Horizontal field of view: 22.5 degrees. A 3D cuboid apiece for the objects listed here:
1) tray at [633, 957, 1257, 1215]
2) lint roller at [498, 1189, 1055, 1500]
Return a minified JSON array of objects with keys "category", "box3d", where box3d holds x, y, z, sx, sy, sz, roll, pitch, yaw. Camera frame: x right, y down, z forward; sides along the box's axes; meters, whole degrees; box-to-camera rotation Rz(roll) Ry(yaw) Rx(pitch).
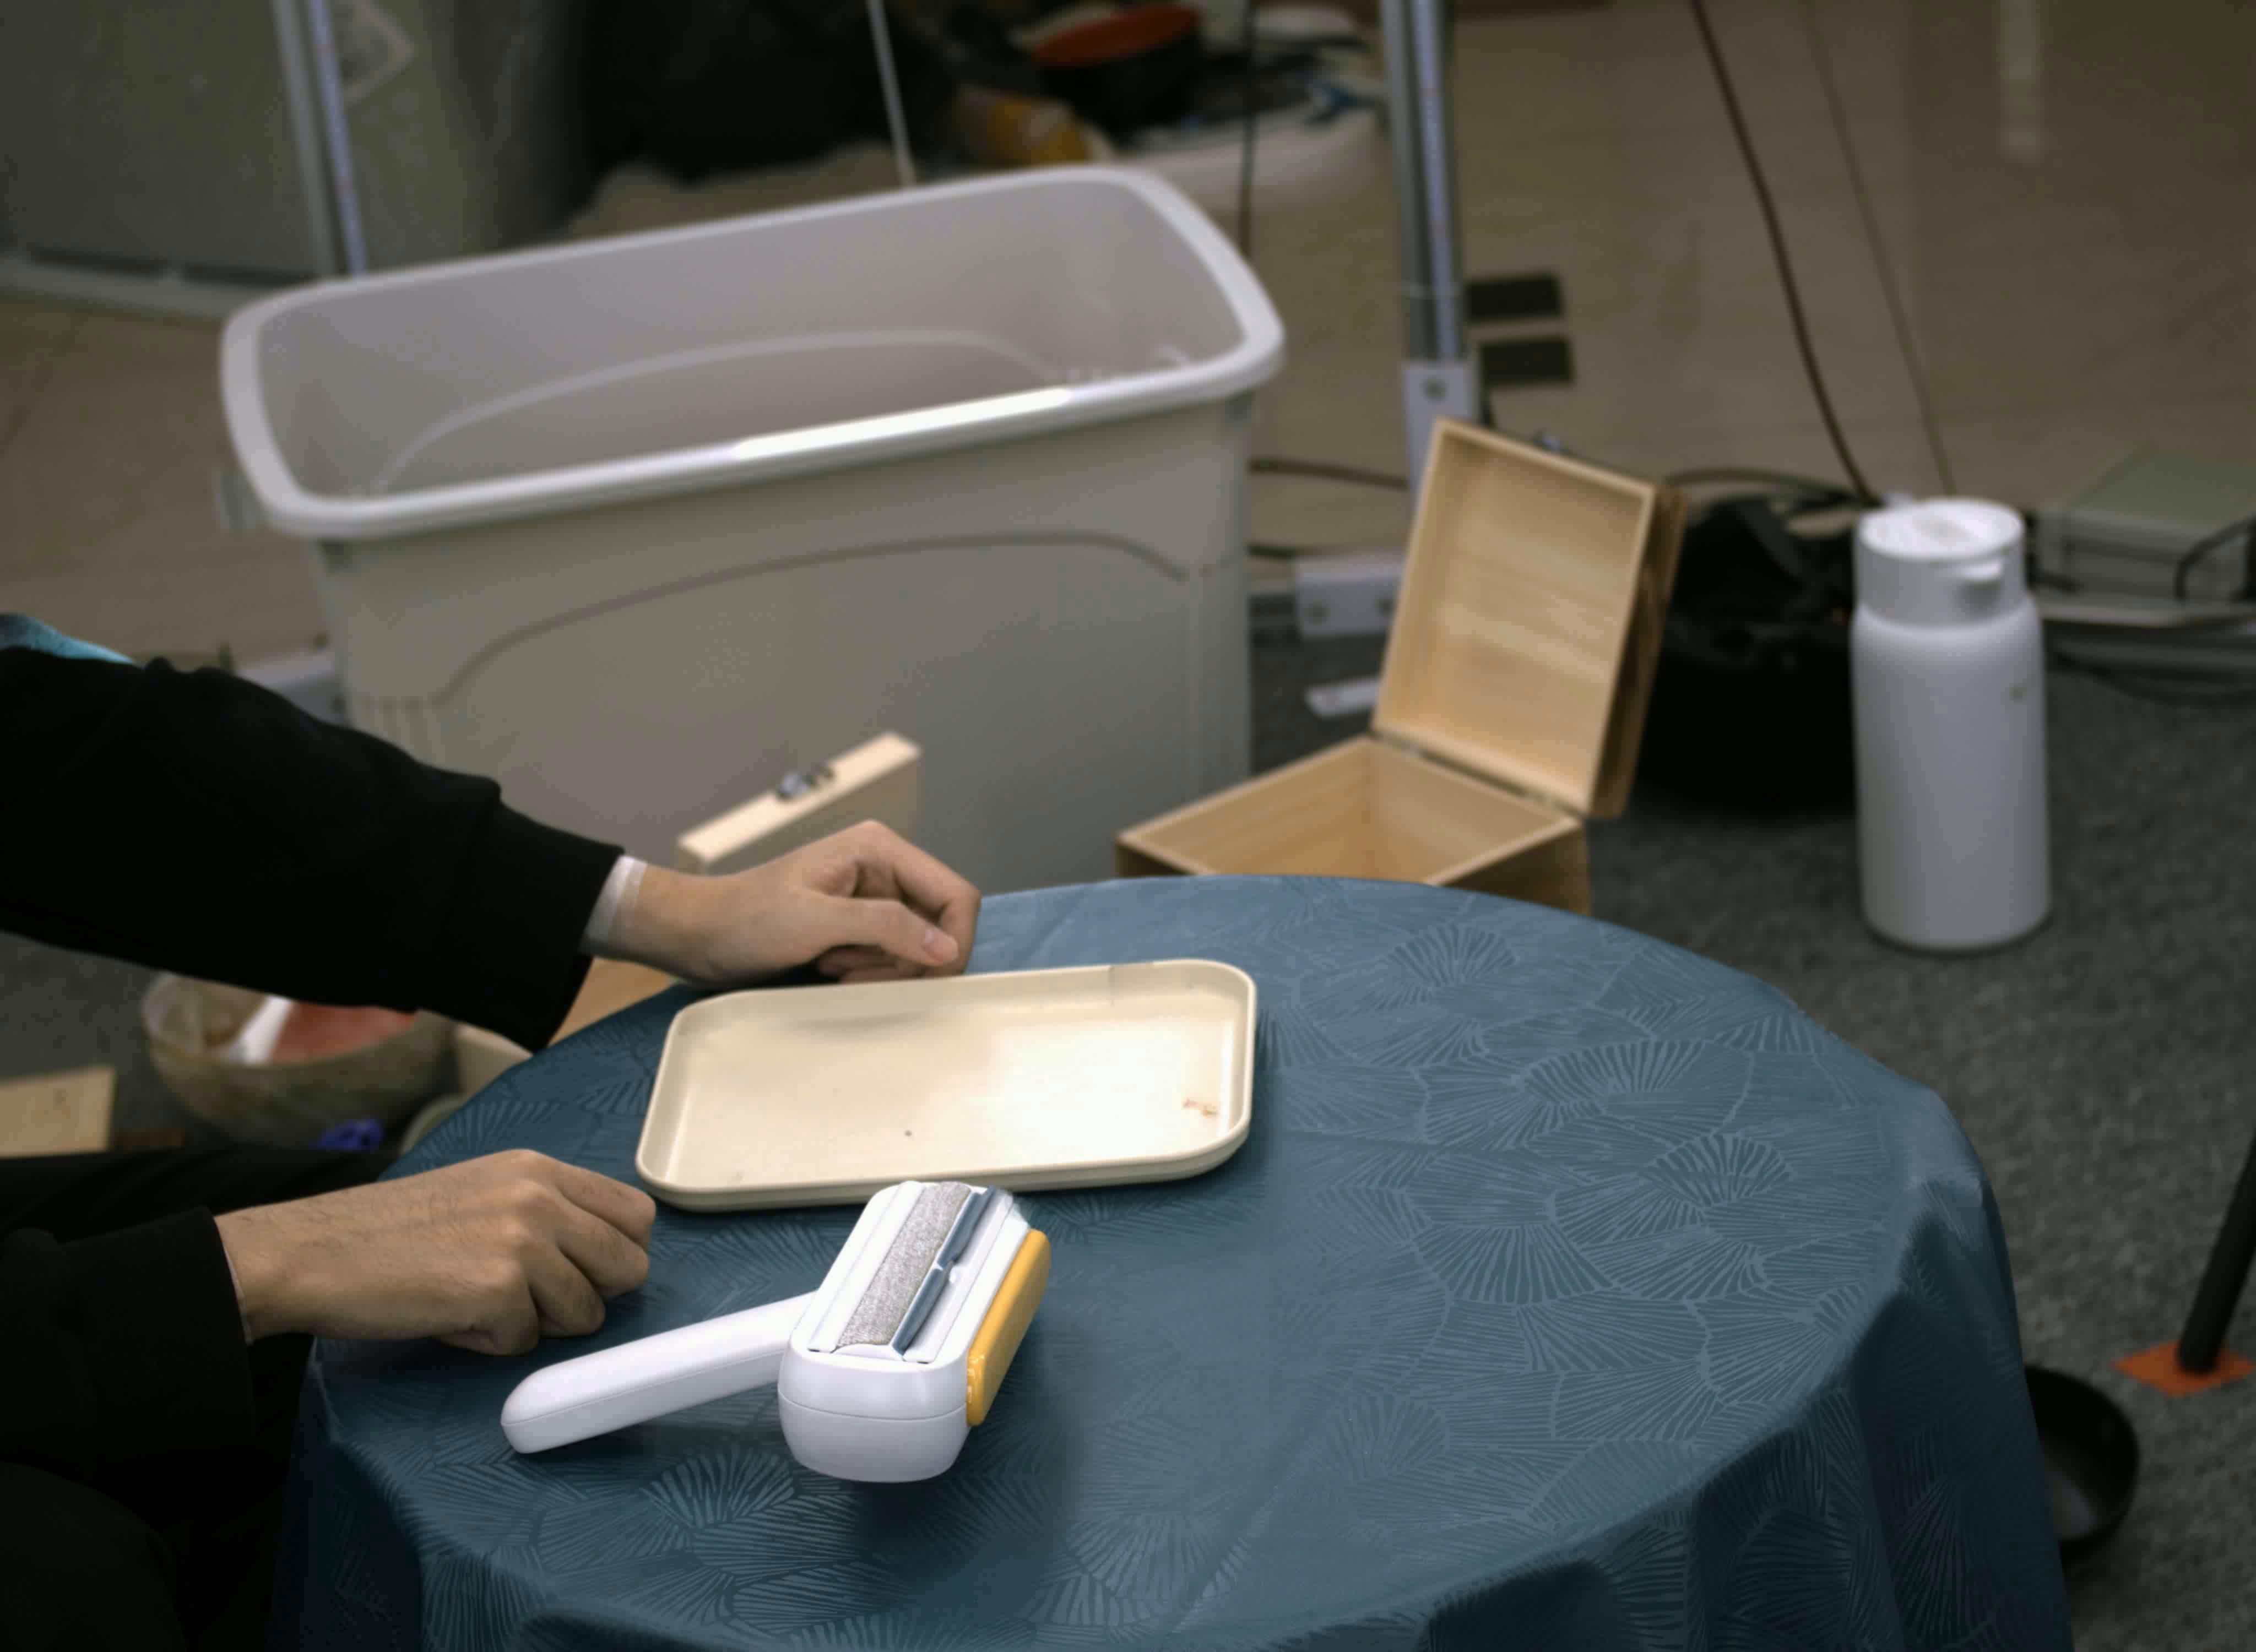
[{"category":"tray","box3d":[-0.069,0.103,2.218,0.239,0.018,0.169,-4,25,5]},{"category":"lint roller","box3d":[-0.133,0.186,1.995,0.192,0.075,0.190,-2,20,14]}]
